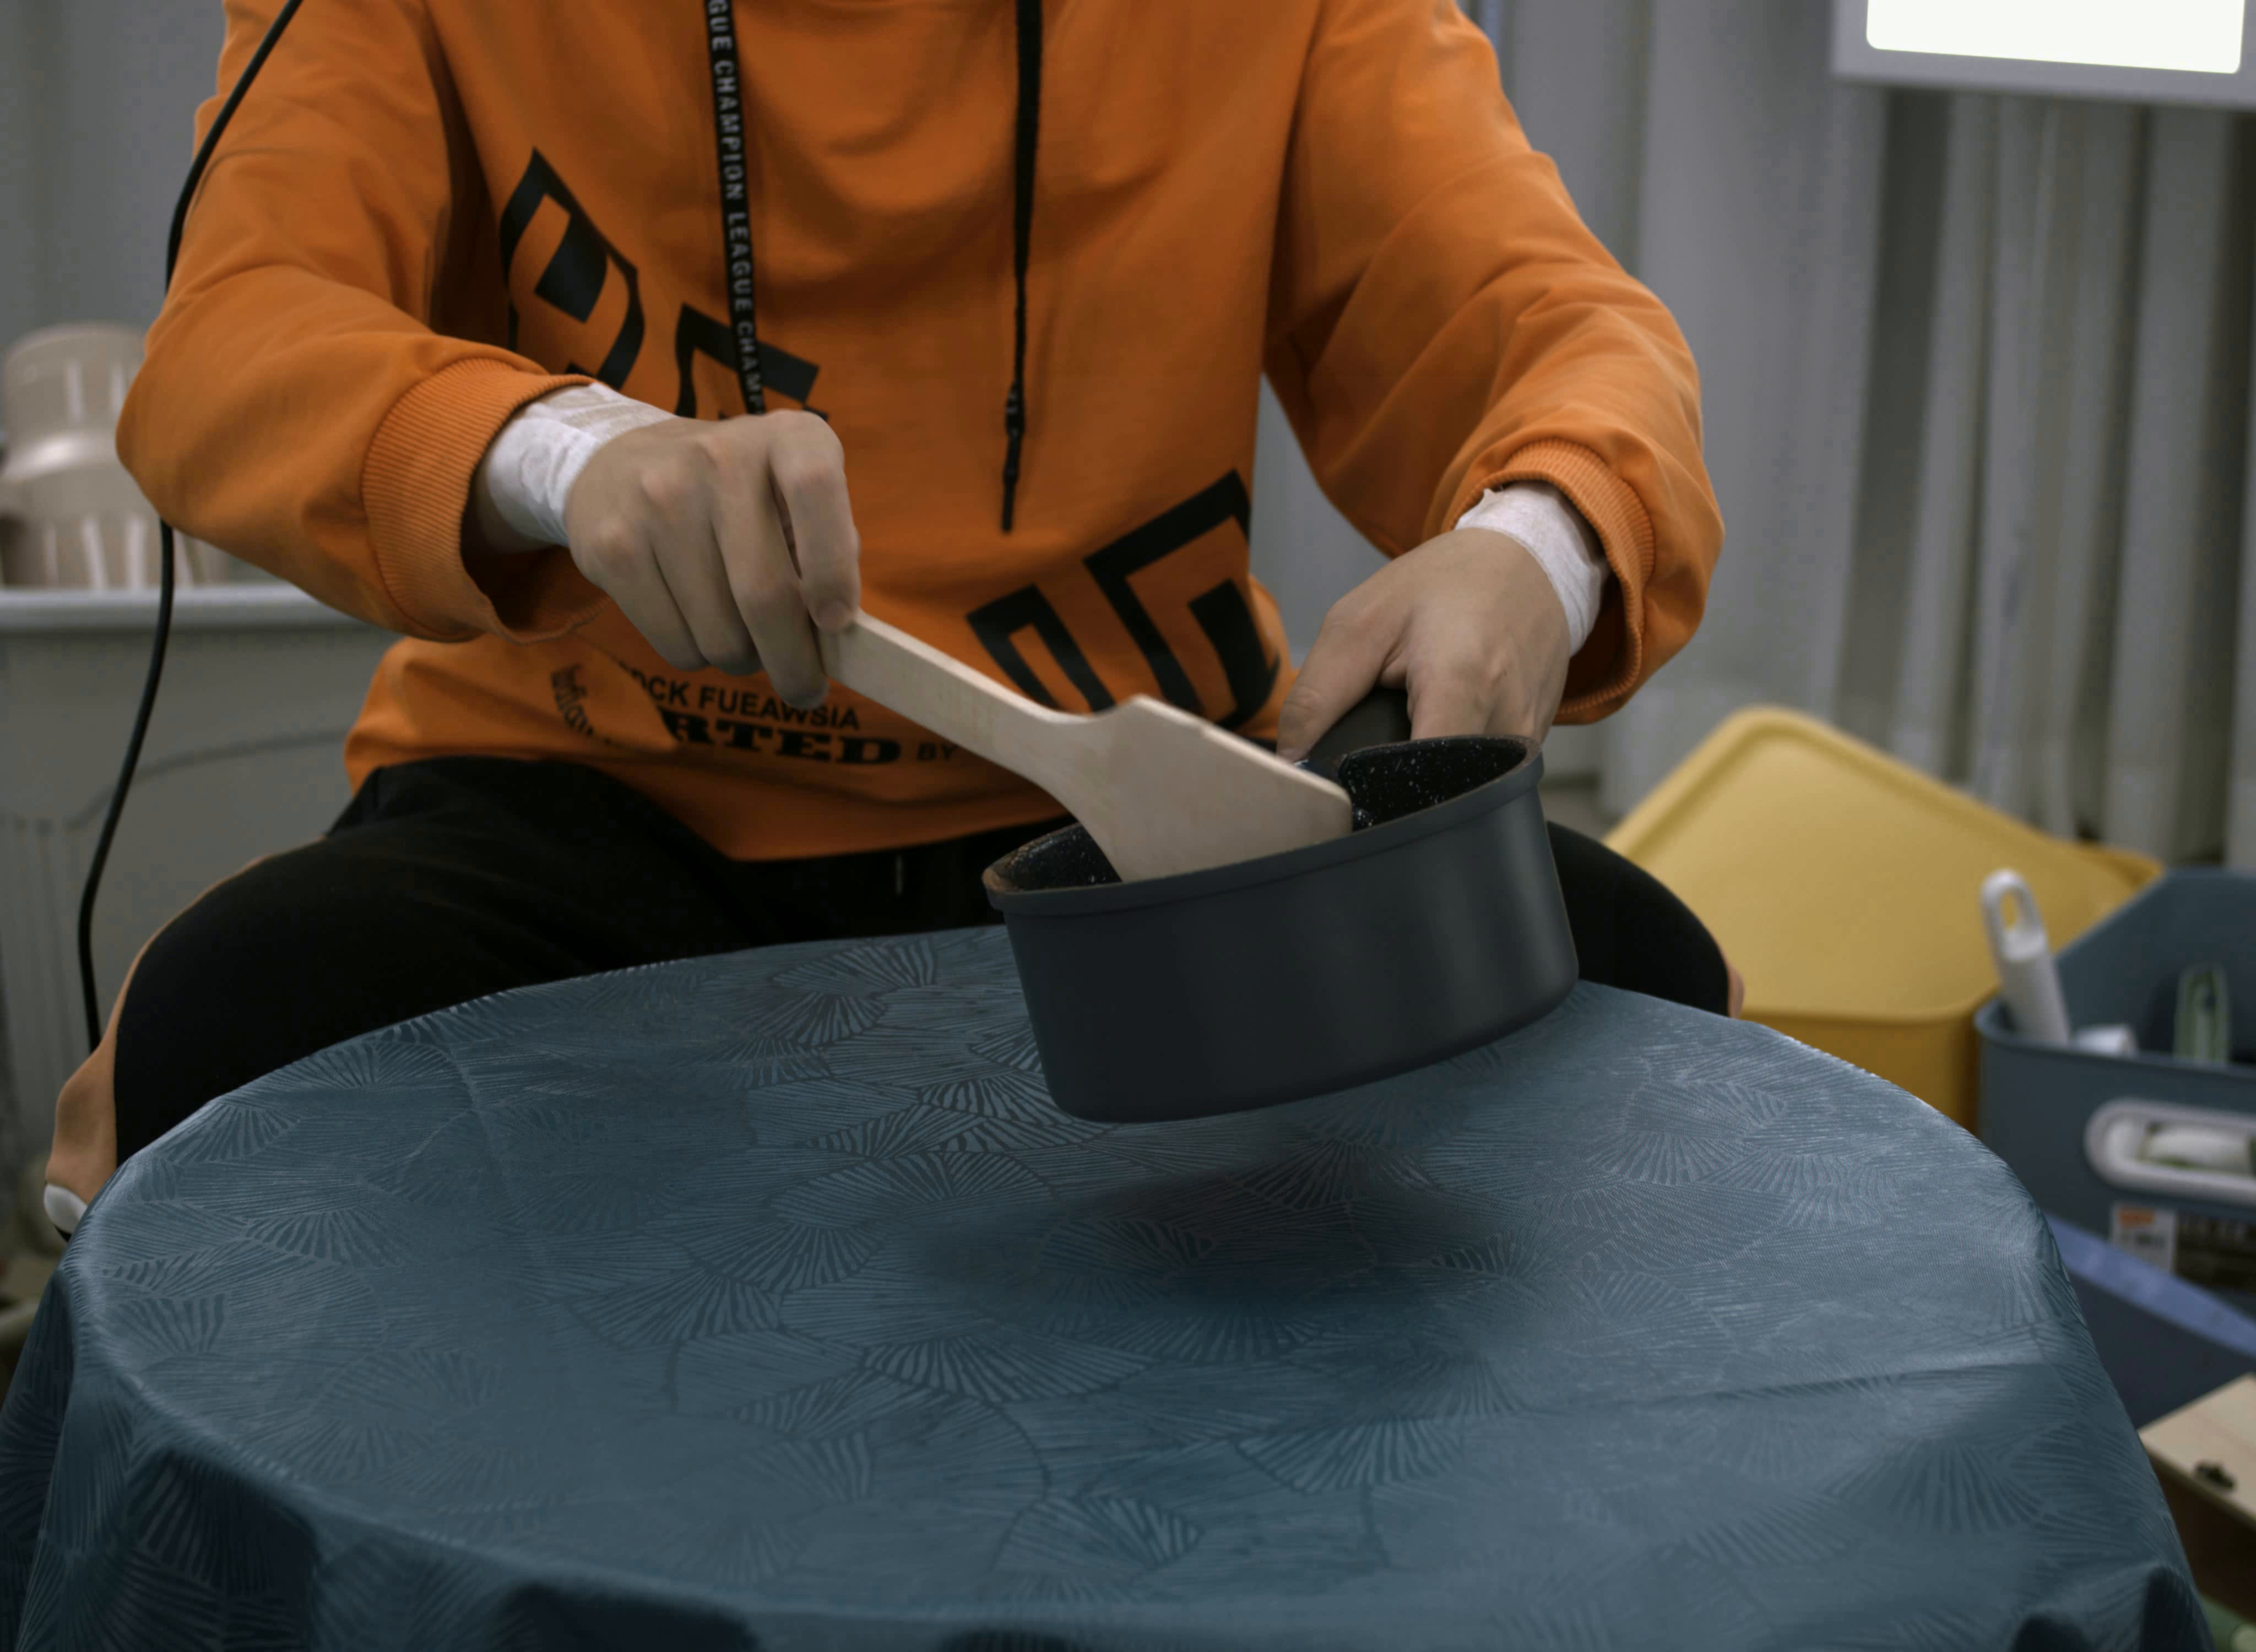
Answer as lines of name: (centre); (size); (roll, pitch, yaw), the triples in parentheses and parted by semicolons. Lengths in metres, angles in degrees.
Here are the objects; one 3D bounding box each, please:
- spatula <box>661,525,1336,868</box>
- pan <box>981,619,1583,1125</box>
spatula: (-0.046, -0.037, 1.606); (0.289, 0.073, 0.010); (26, 42, 36)
pan: (0.069, 0.010, 1.640); (0.171, 0.087, 0.329); (-10, 11, 18)
